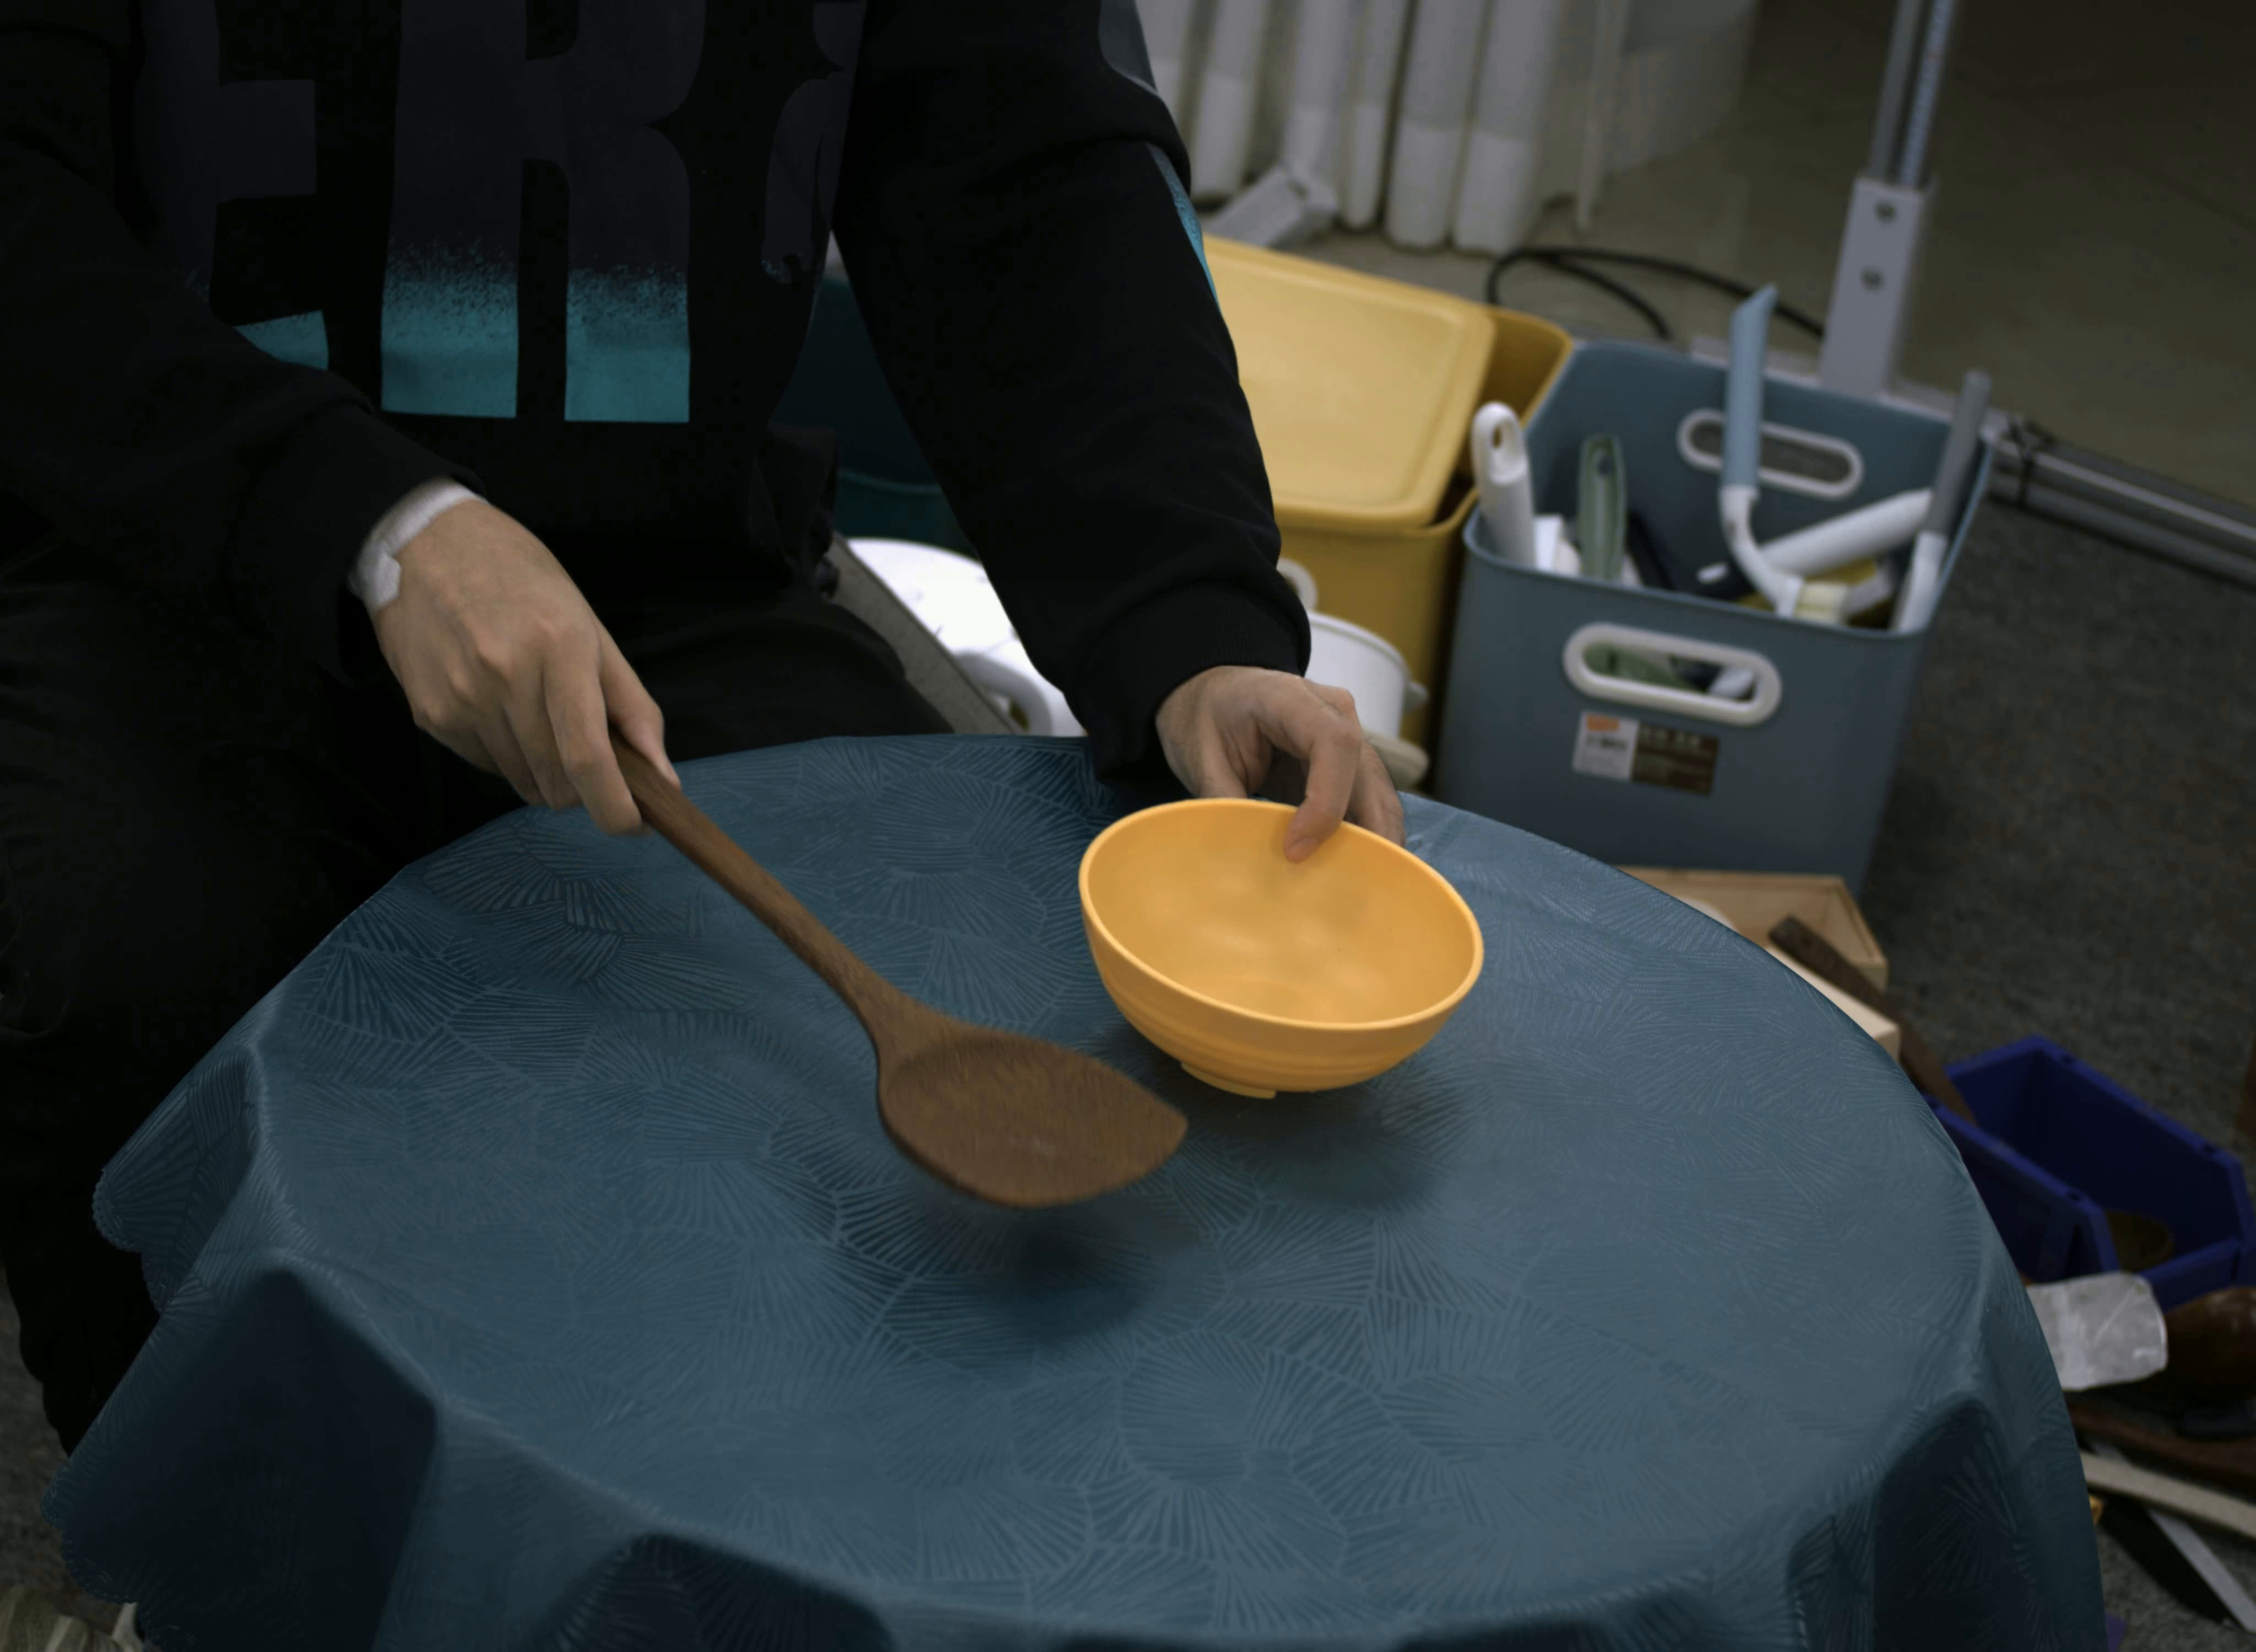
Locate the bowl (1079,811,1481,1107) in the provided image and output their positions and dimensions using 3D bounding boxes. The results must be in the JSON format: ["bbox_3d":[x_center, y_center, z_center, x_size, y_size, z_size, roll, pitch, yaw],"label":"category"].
[{"bbox_3d":[0.048,0.056,1.871,0.145,0.060,0.146,10,28,-6],"label":"bowl"}]

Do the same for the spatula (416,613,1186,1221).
[{"bbox_3d":[-0.130,0.023,1.835,0.095,0.016,0.389,-18,44,-39],"label":"spatula"}]
